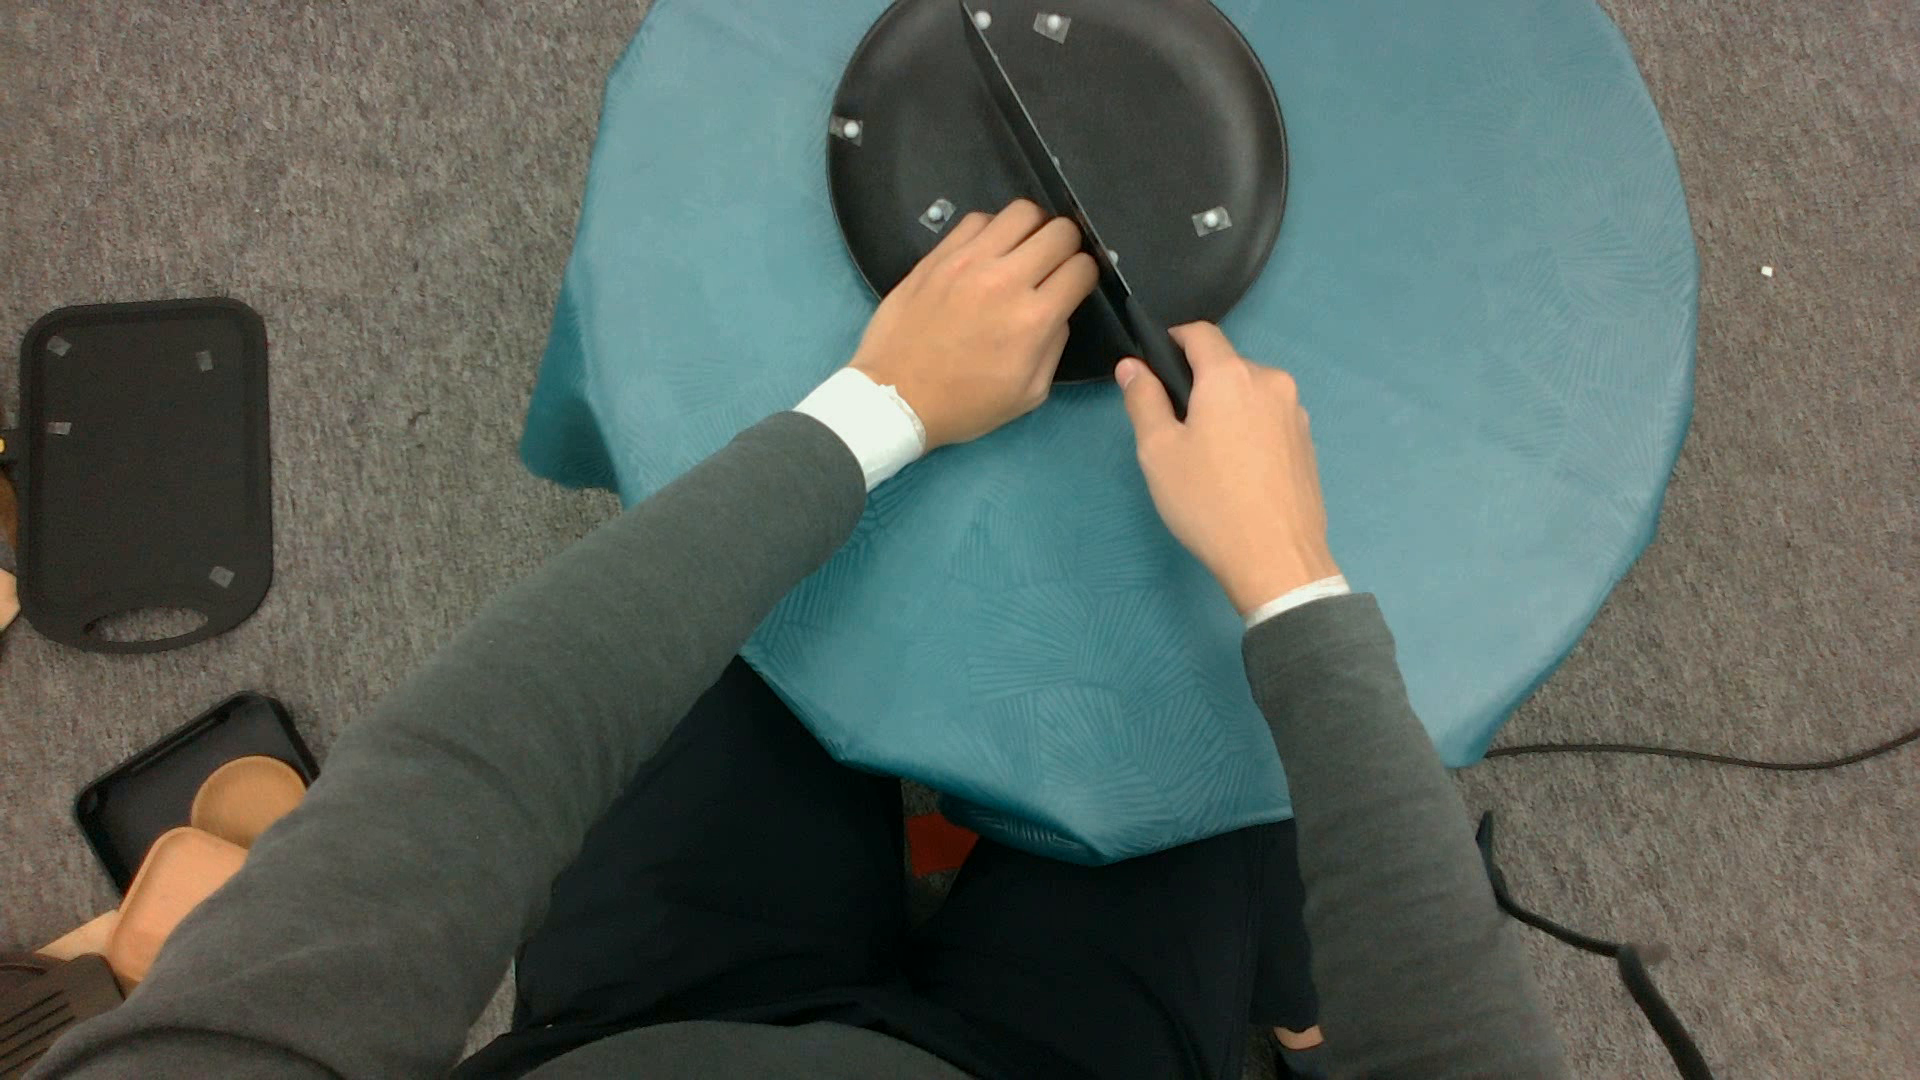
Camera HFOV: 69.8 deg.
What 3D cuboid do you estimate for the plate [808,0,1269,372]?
[{"bbox_3d":[0.042,-0.204,0.731,0.244,0.023,0.245,1,80,-3],"label":"plate"}]

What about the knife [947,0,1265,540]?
[{"bbox_3d":[0.066,-0.133,0.675,0.021,0.081,0.302,-29,78,1],"label":"knife"}]
